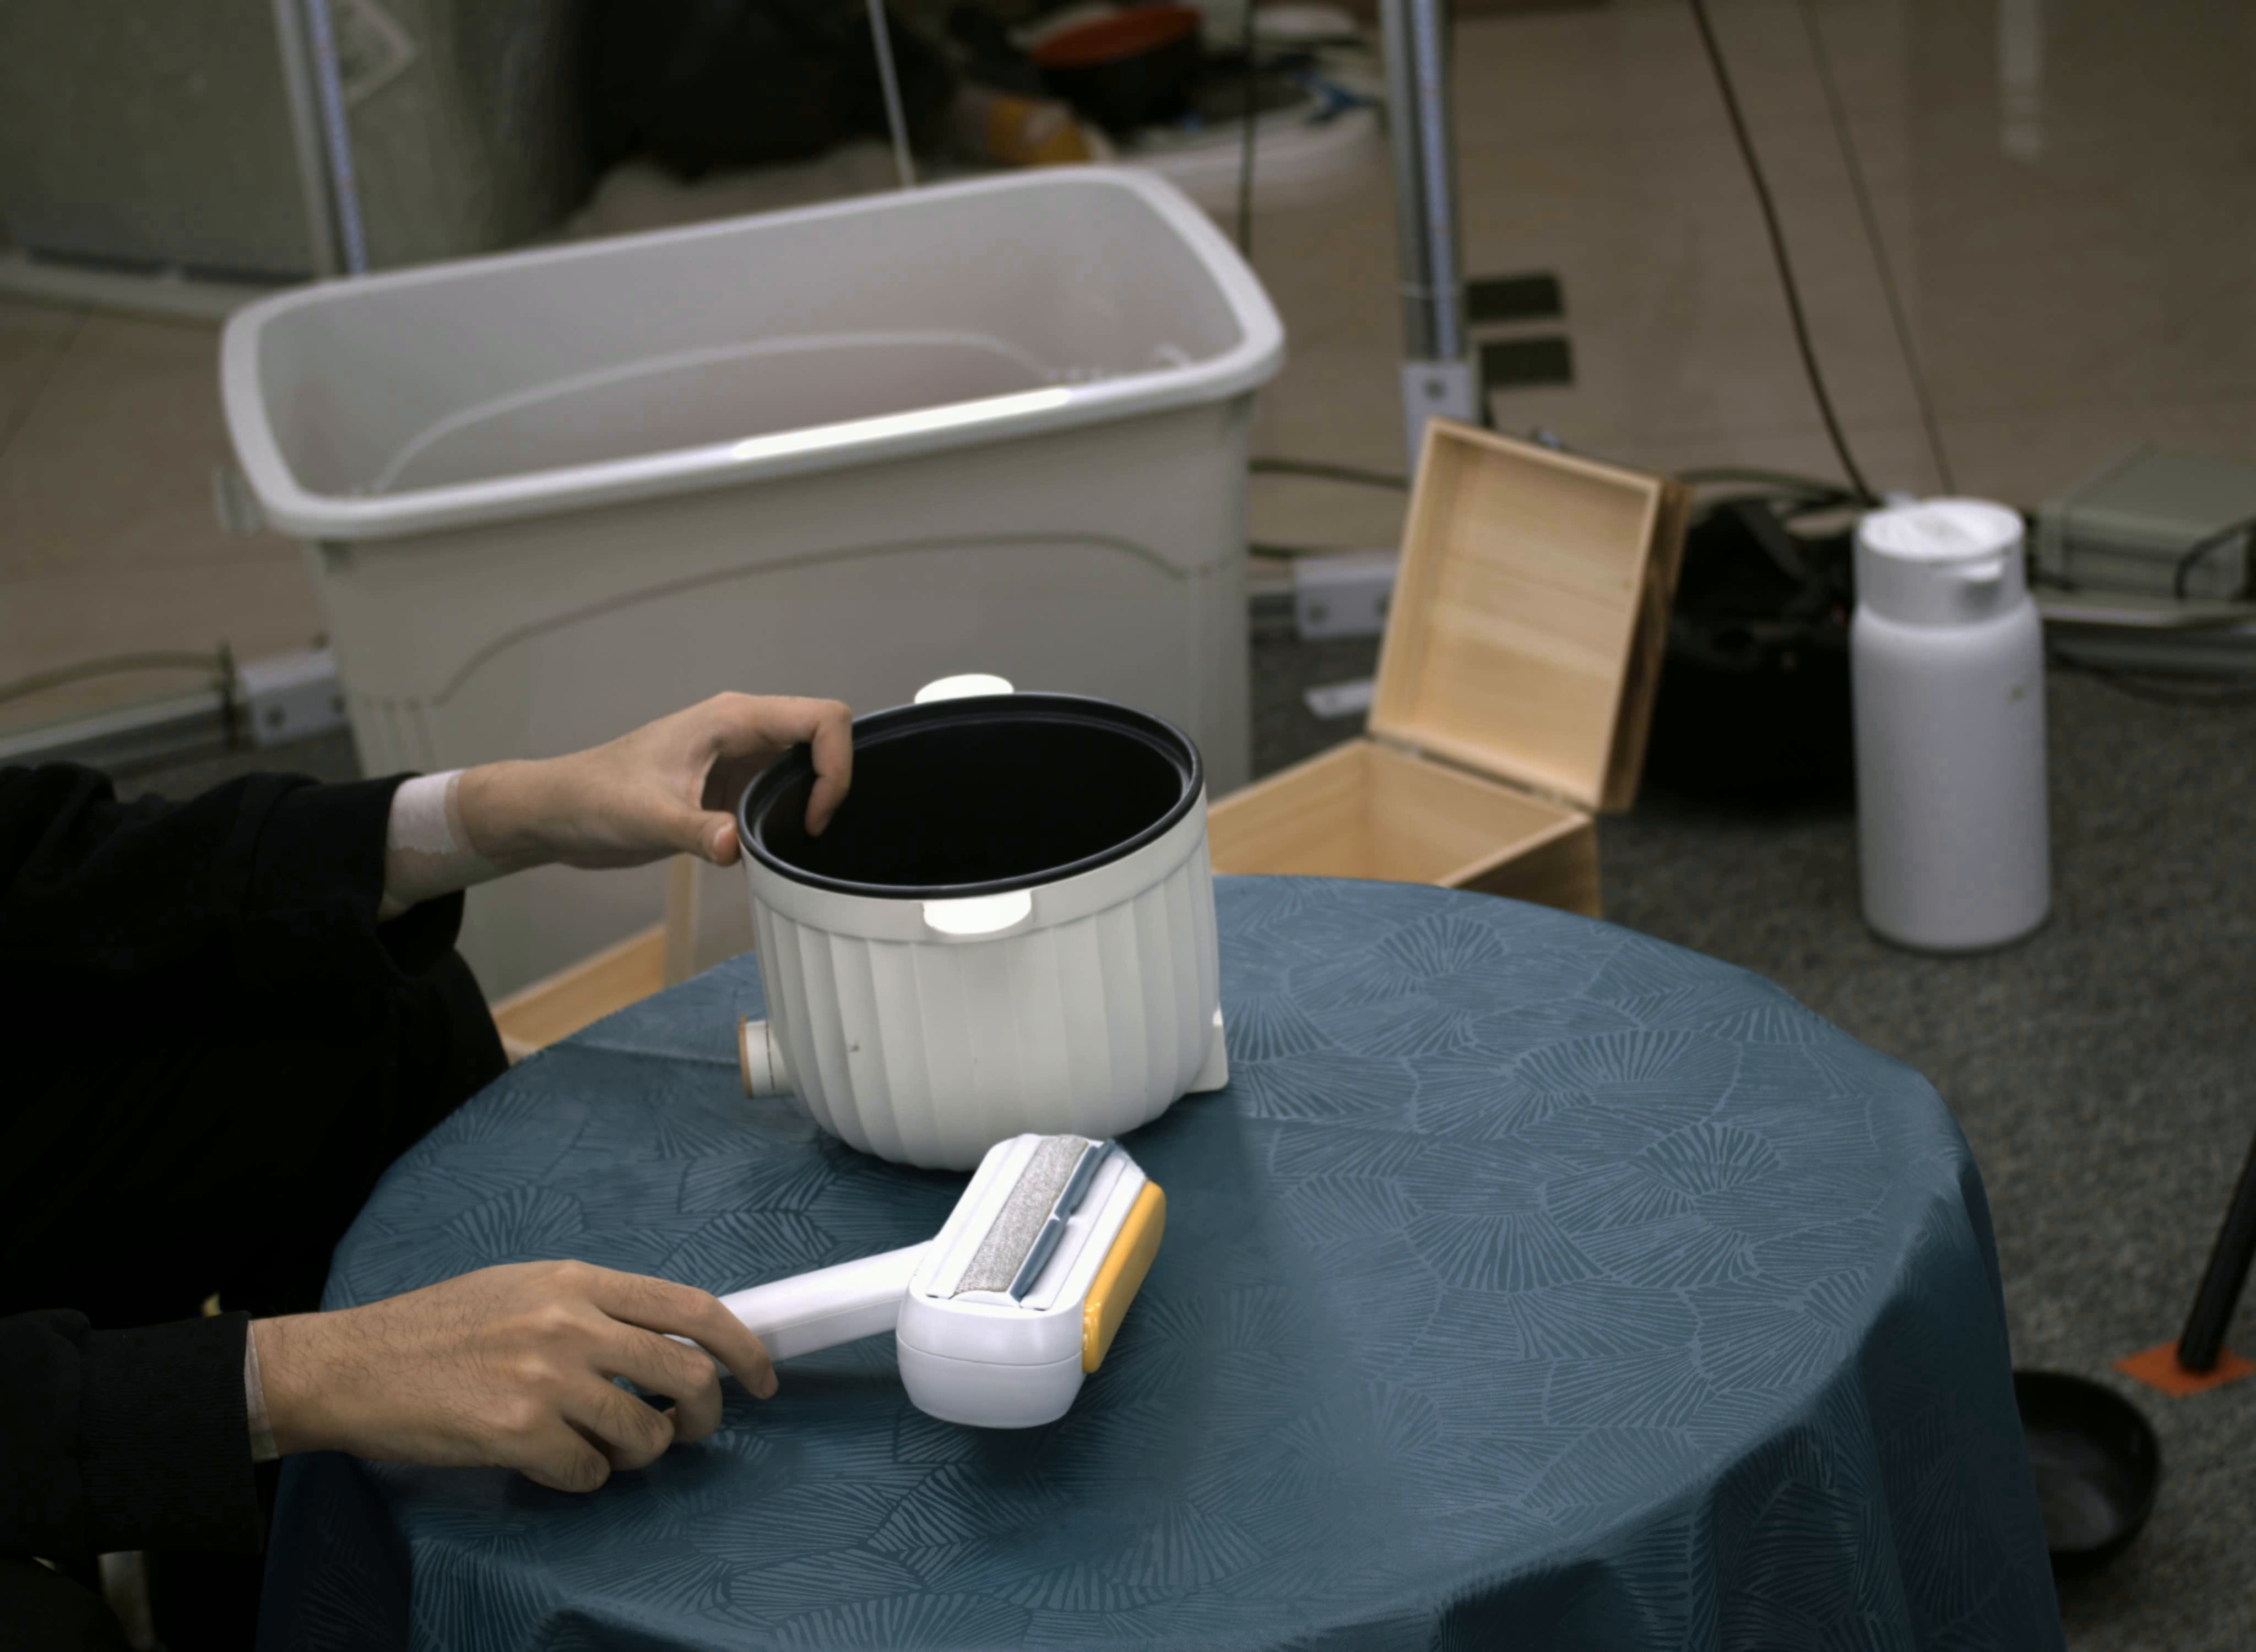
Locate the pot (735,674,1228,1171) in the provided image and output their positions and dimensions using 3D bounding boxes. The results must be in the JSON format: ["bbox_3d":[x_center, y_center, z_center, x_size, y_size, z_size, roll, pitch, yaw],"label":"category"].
[{"bbox_3d":[-0.060,0.046,2.190,0.190,0.145,0.237,-4,24,-2],"label":"pot"}]

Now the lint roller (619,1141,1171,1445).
[{"bbox_3d":[-0.092,0.170,2.020,0.192,0.075,0.190,-1,20,15],"label":"lint roller"}]
